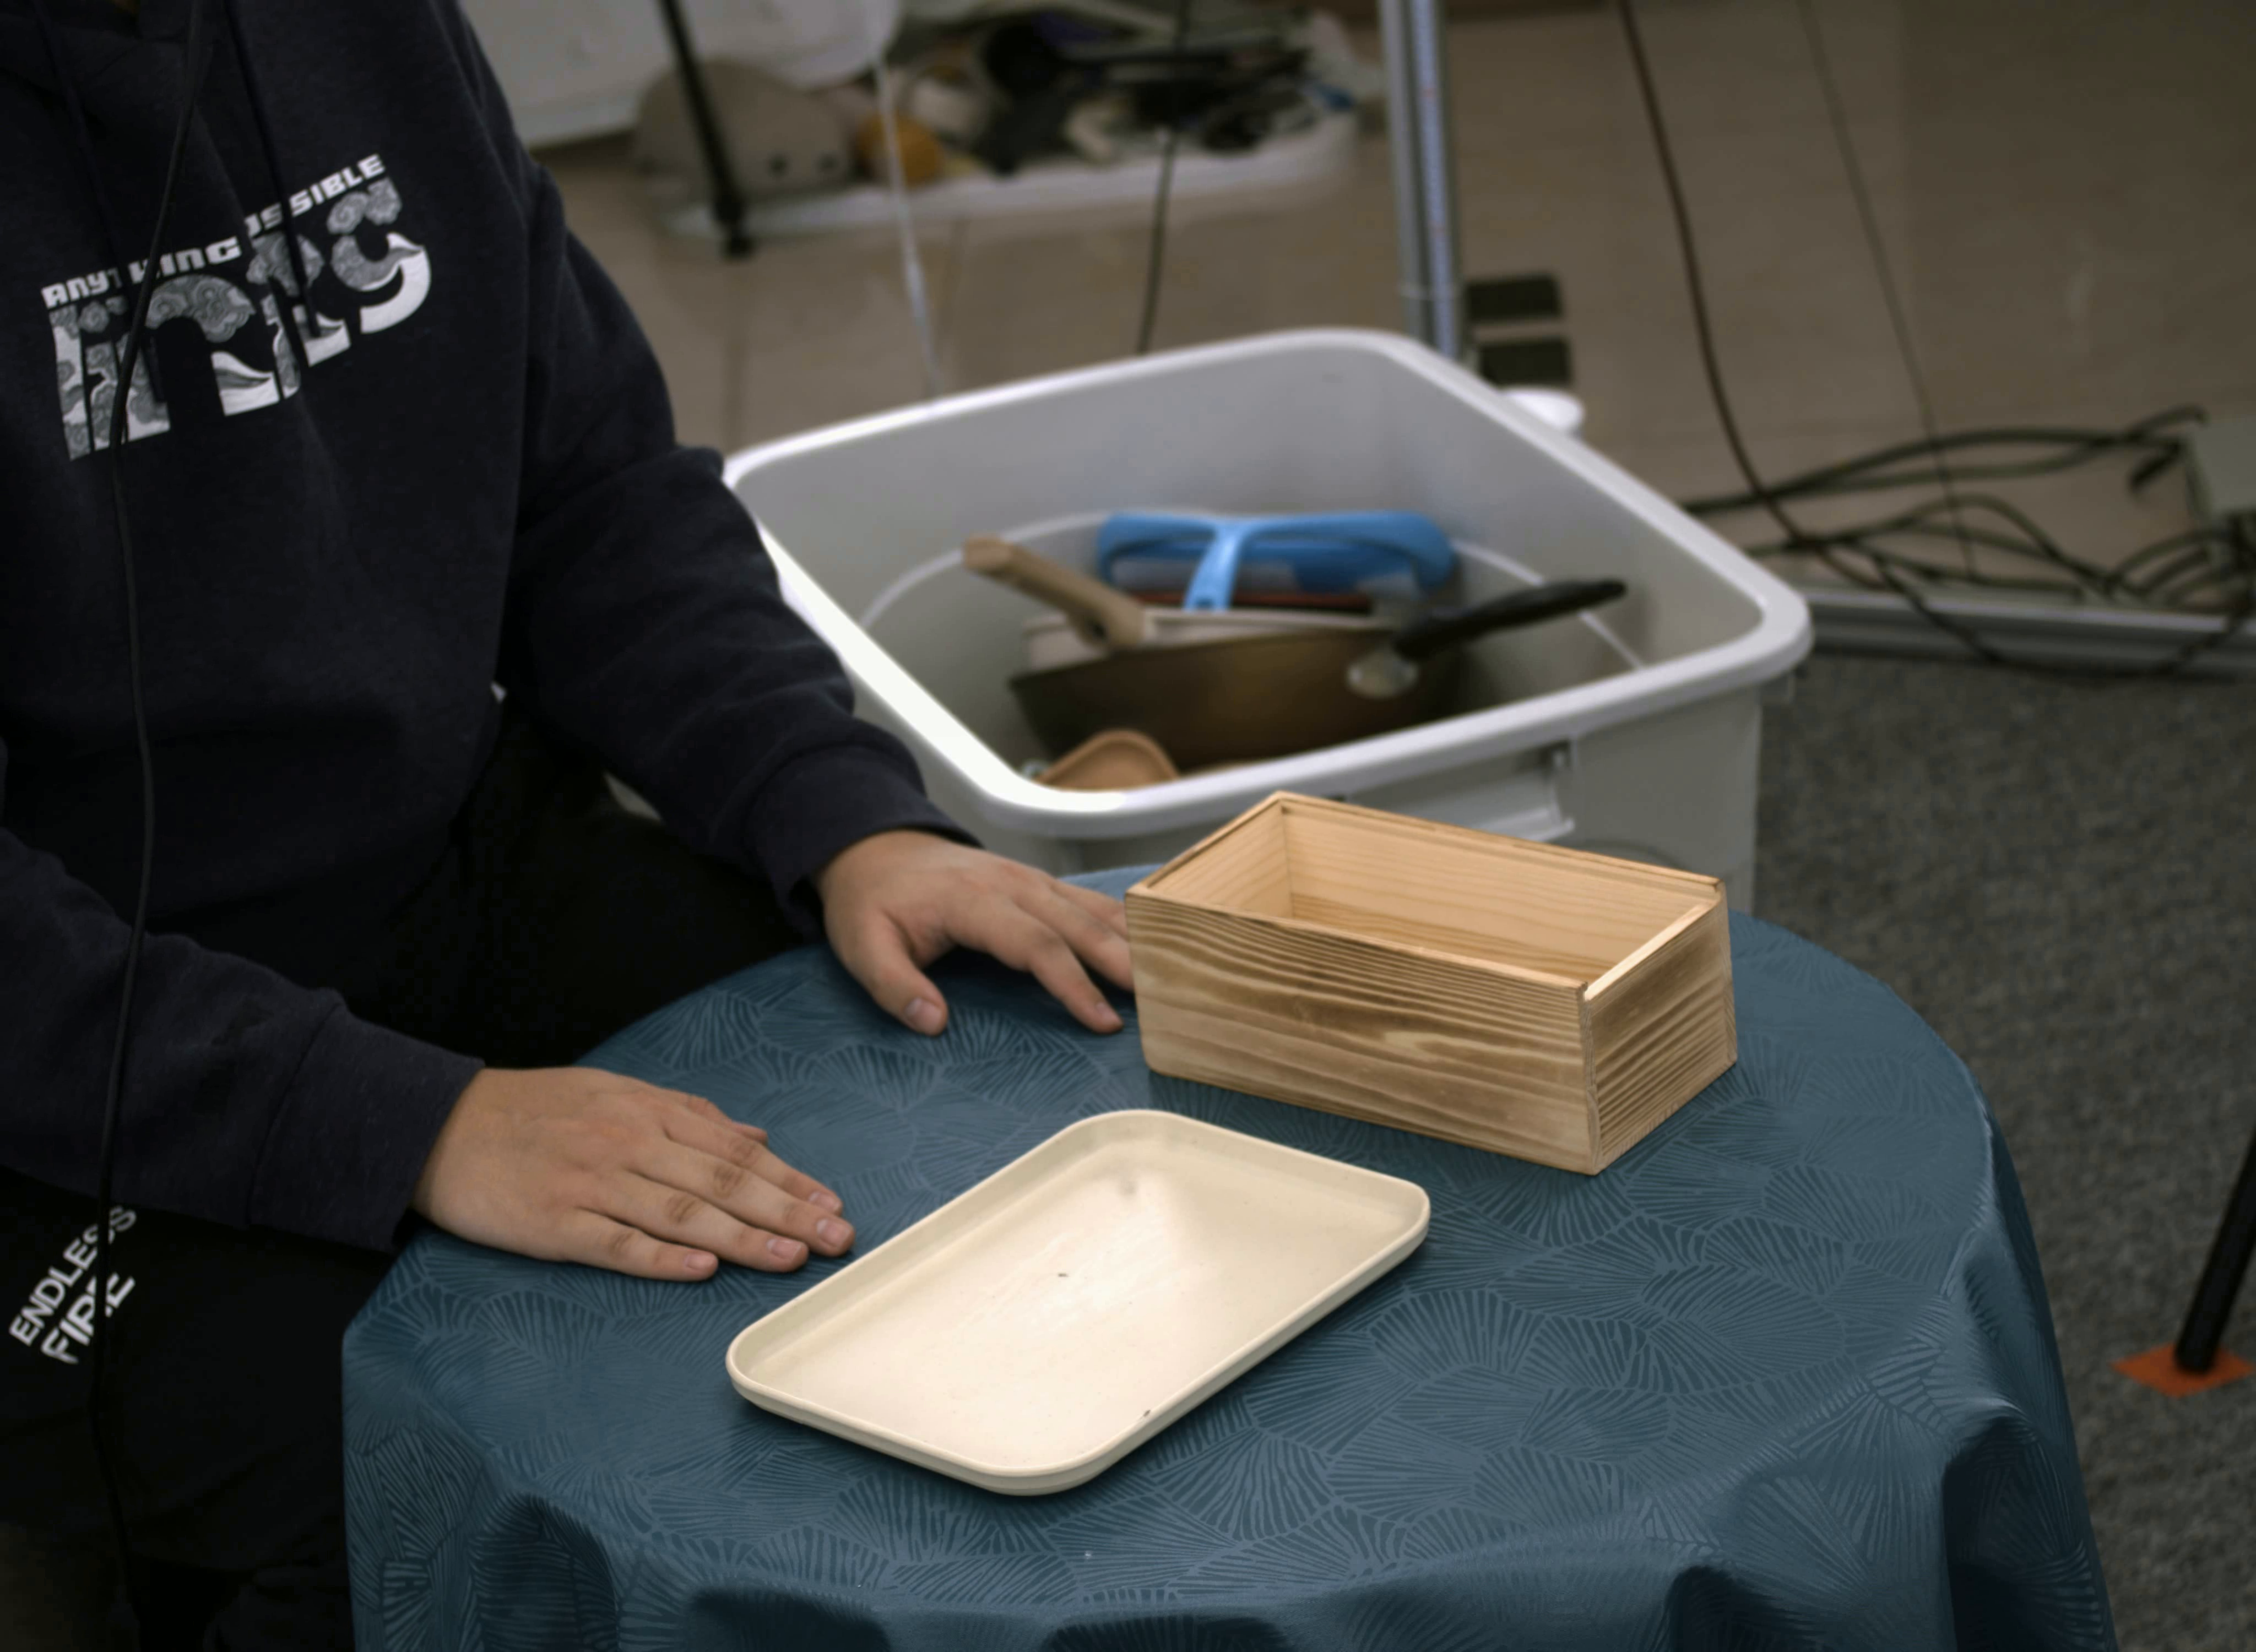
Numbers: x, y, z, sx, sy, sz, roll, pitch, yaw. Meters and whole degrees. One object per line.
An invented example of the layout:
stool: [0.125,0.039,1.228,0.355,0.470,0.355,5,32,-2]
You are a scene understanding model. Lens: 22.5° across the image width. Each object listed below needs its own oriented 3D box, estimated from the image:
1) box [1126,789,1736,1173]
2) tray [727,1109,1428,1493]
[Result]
box: [0.117,0.057,2.200,0.210,0.081,0.106,12,30,35]
tray: [-0.016,0.171,2.061,0.170,0.018,0.237,14,31,39]
